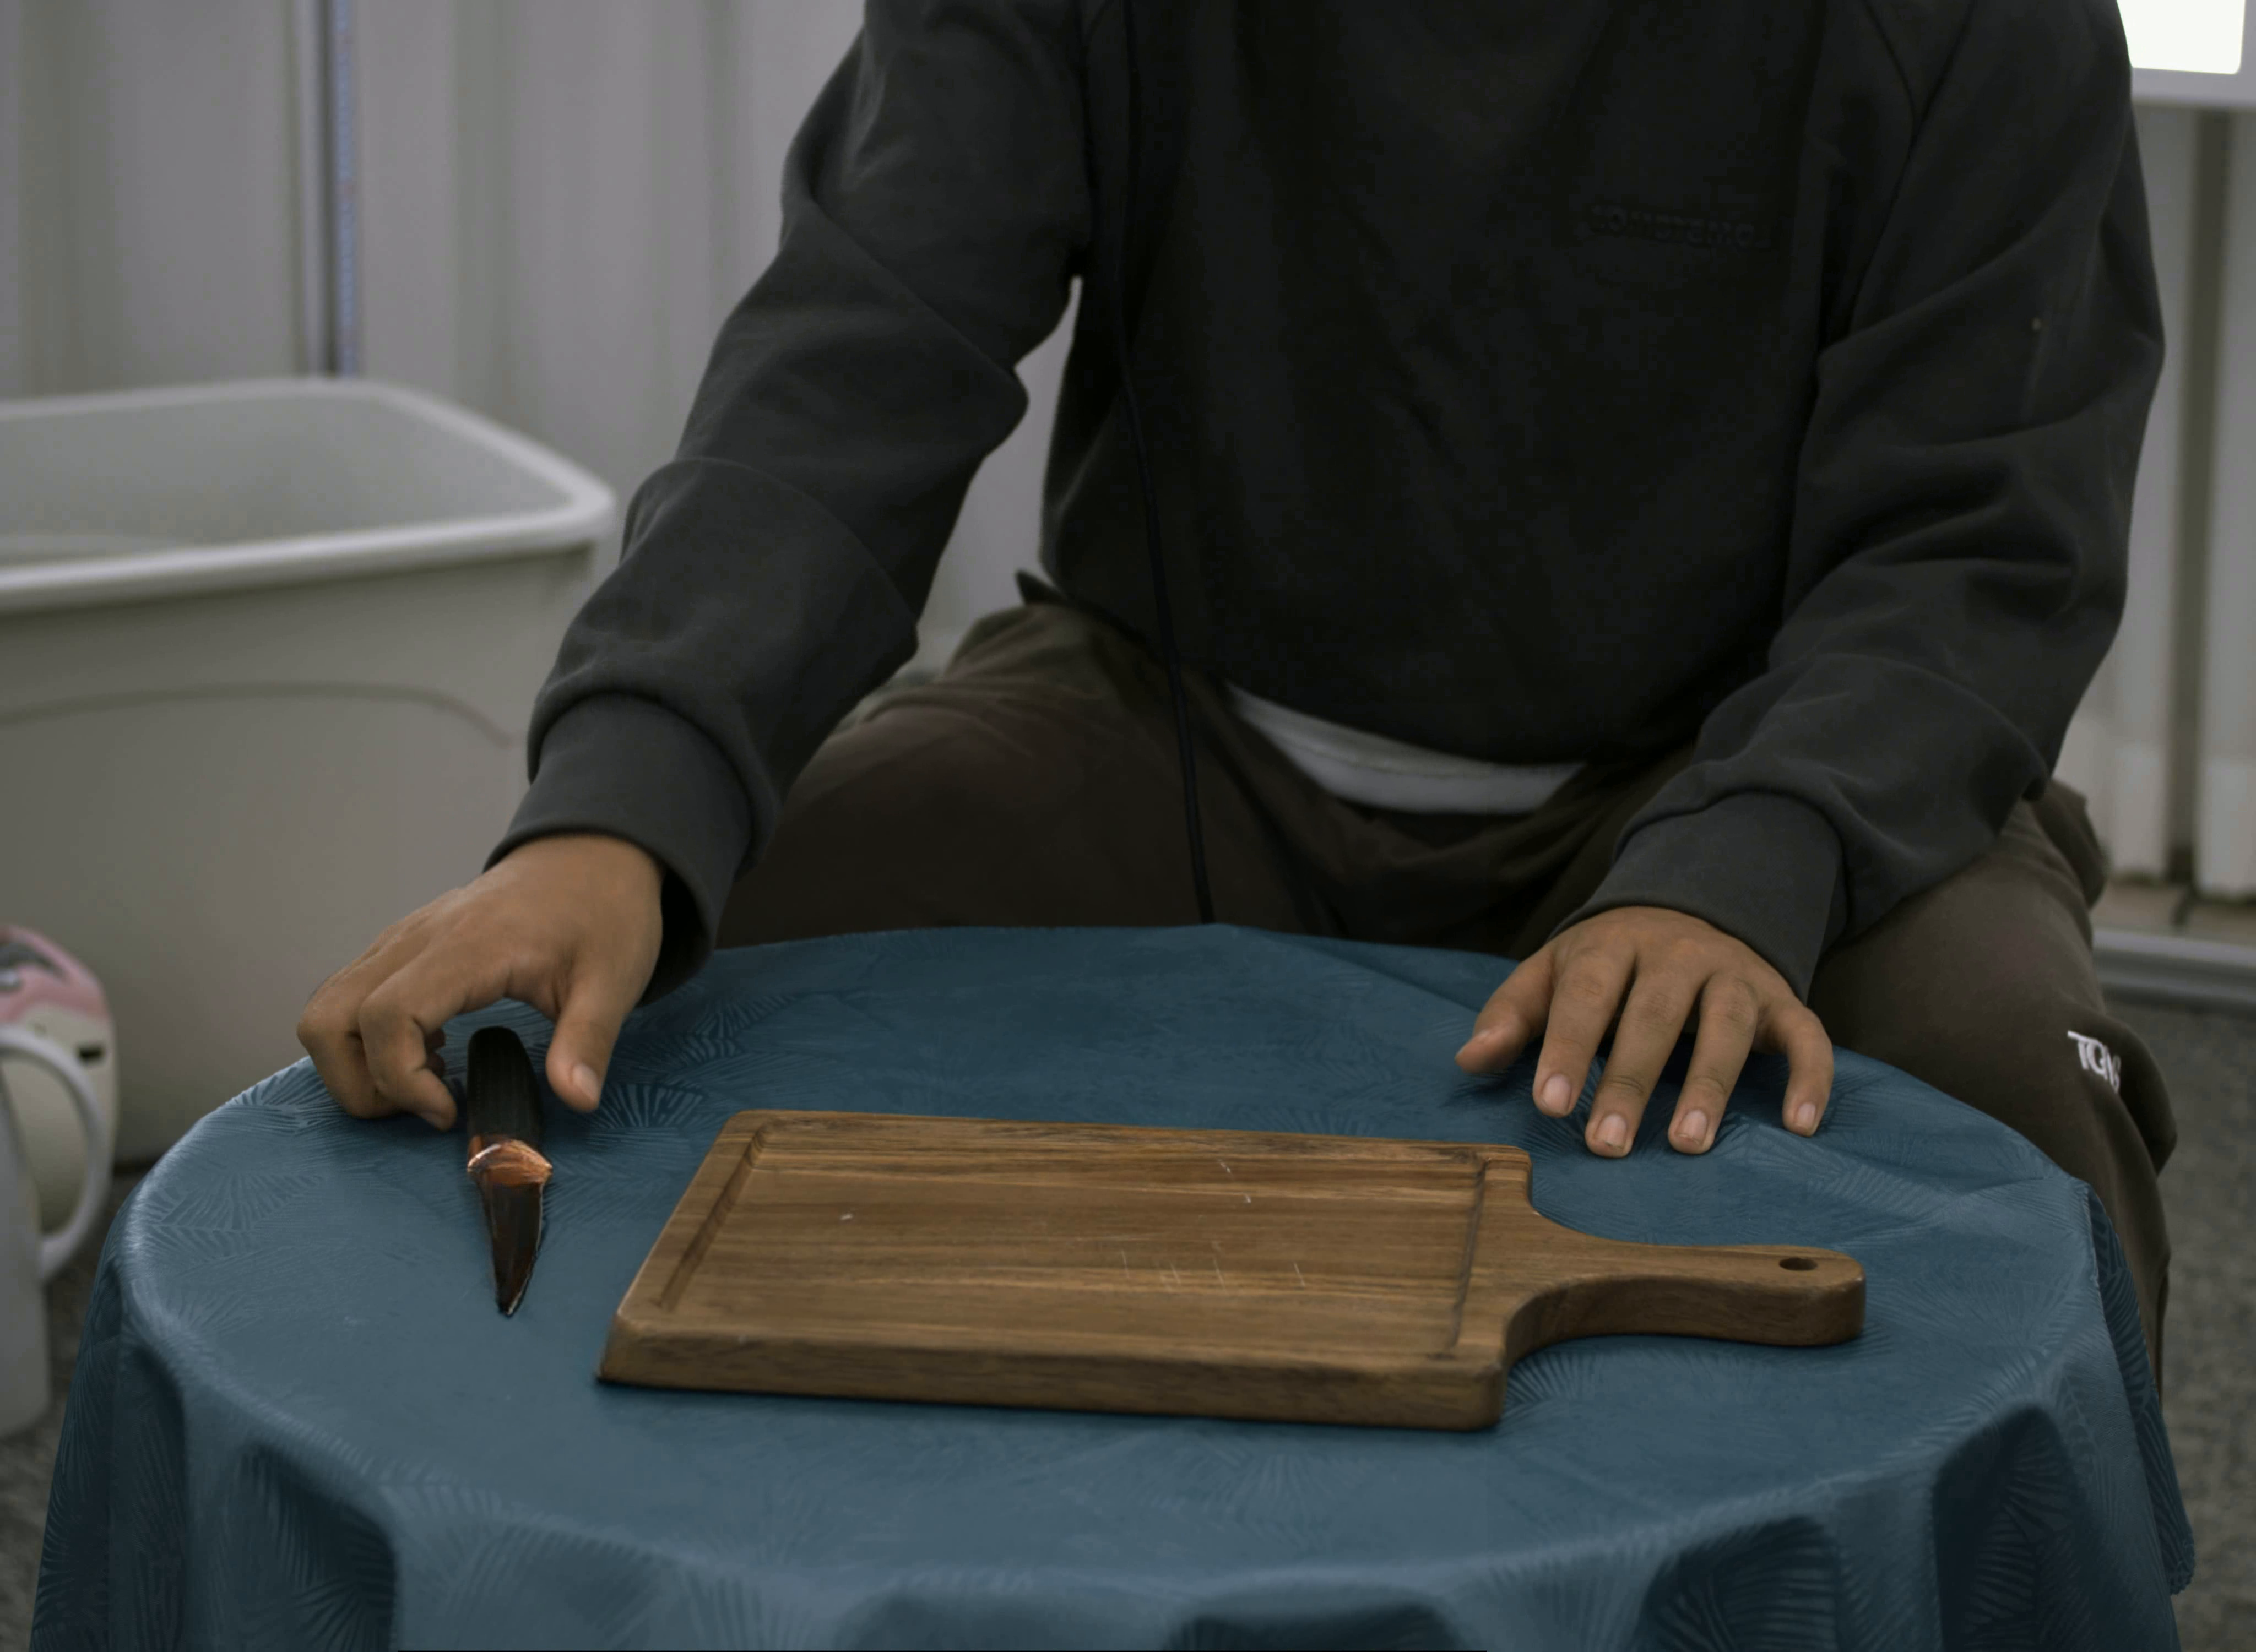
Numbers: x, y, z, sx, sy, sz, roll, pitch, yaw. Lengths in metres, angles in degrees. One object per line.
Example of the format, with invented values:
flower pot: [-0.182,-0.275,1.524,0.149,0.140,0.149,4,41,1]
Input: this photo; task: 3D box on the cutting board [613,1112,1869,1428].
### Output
cutting board: [0.039,0.128,1.532,0.350,0.023,0.200,2,16,5]

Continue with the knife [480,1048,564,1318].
knife: [-0.186,0.108,1.614,0.026,0.017,0.224,5,15,-8]
